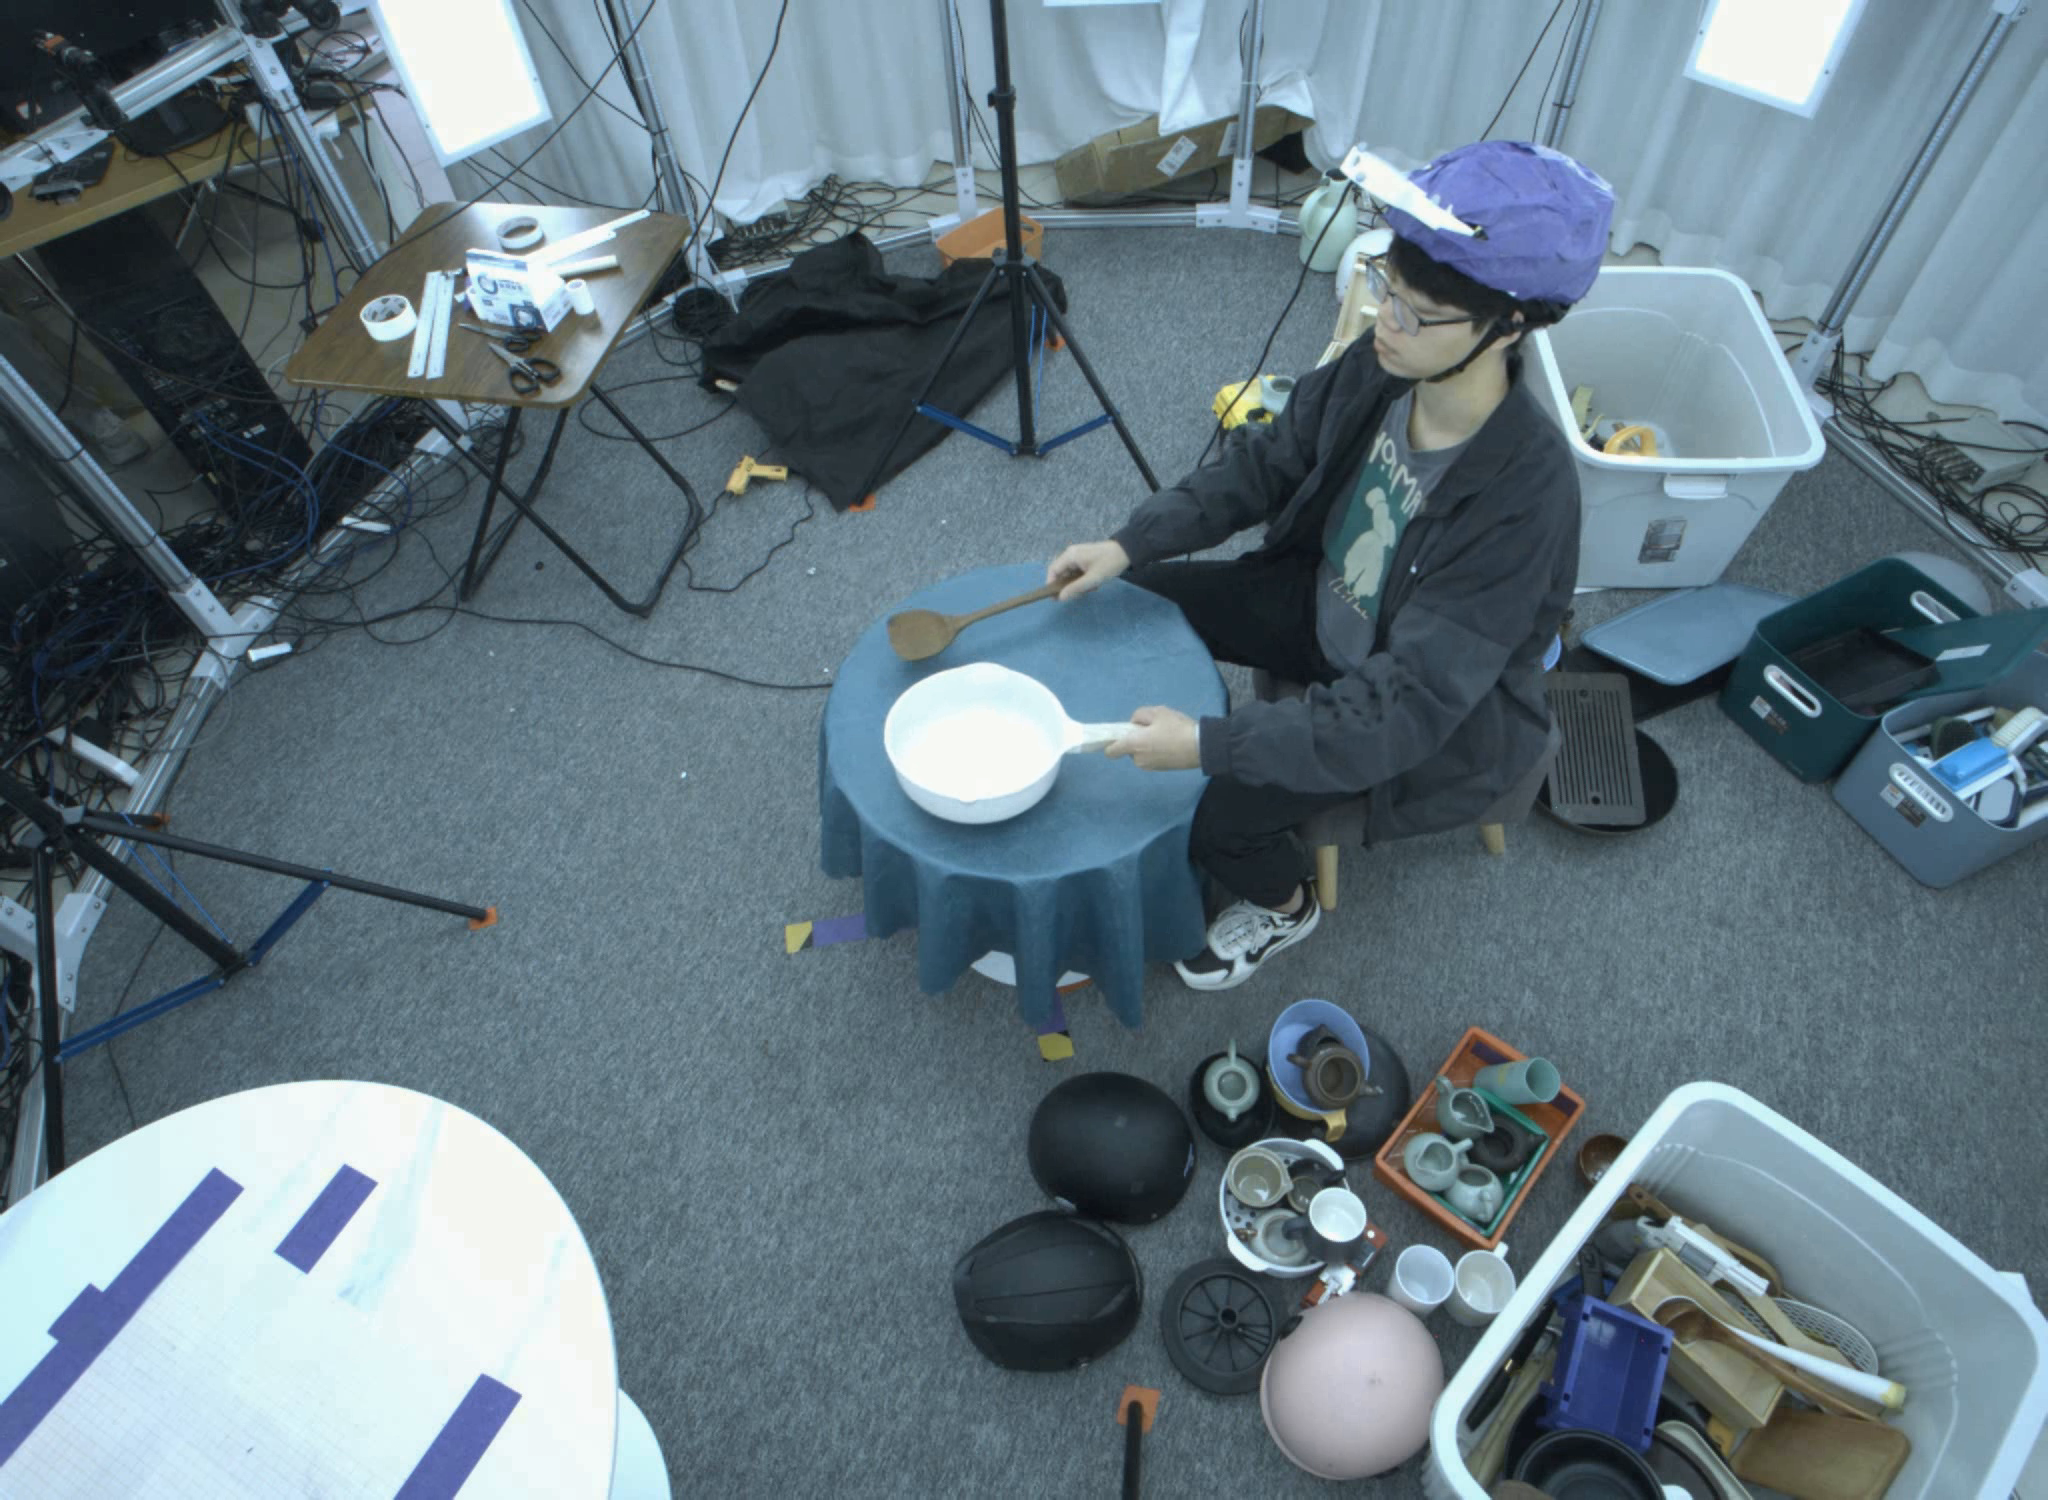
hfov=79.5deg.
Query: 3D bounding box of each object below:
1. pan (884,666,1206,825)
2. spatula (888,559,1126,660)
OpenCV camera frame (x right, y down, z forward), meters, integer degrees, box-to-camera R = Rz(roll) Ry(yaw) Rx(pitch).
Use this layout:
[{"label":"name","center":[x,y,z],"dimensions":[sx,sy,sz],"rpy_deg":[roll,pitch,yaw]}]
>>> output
[{"label":"pan","center":[0.028,-0.001,1.687],"dimensions":[0.434,0.103,0.261],"rpy_deg":[2,46,2]},{"label":"spatula","center":[-0.020,-0.227,1.866],"dimensions":[0.389,0.016,0.094],"rpy_deg":[-20,64,-14]}]
